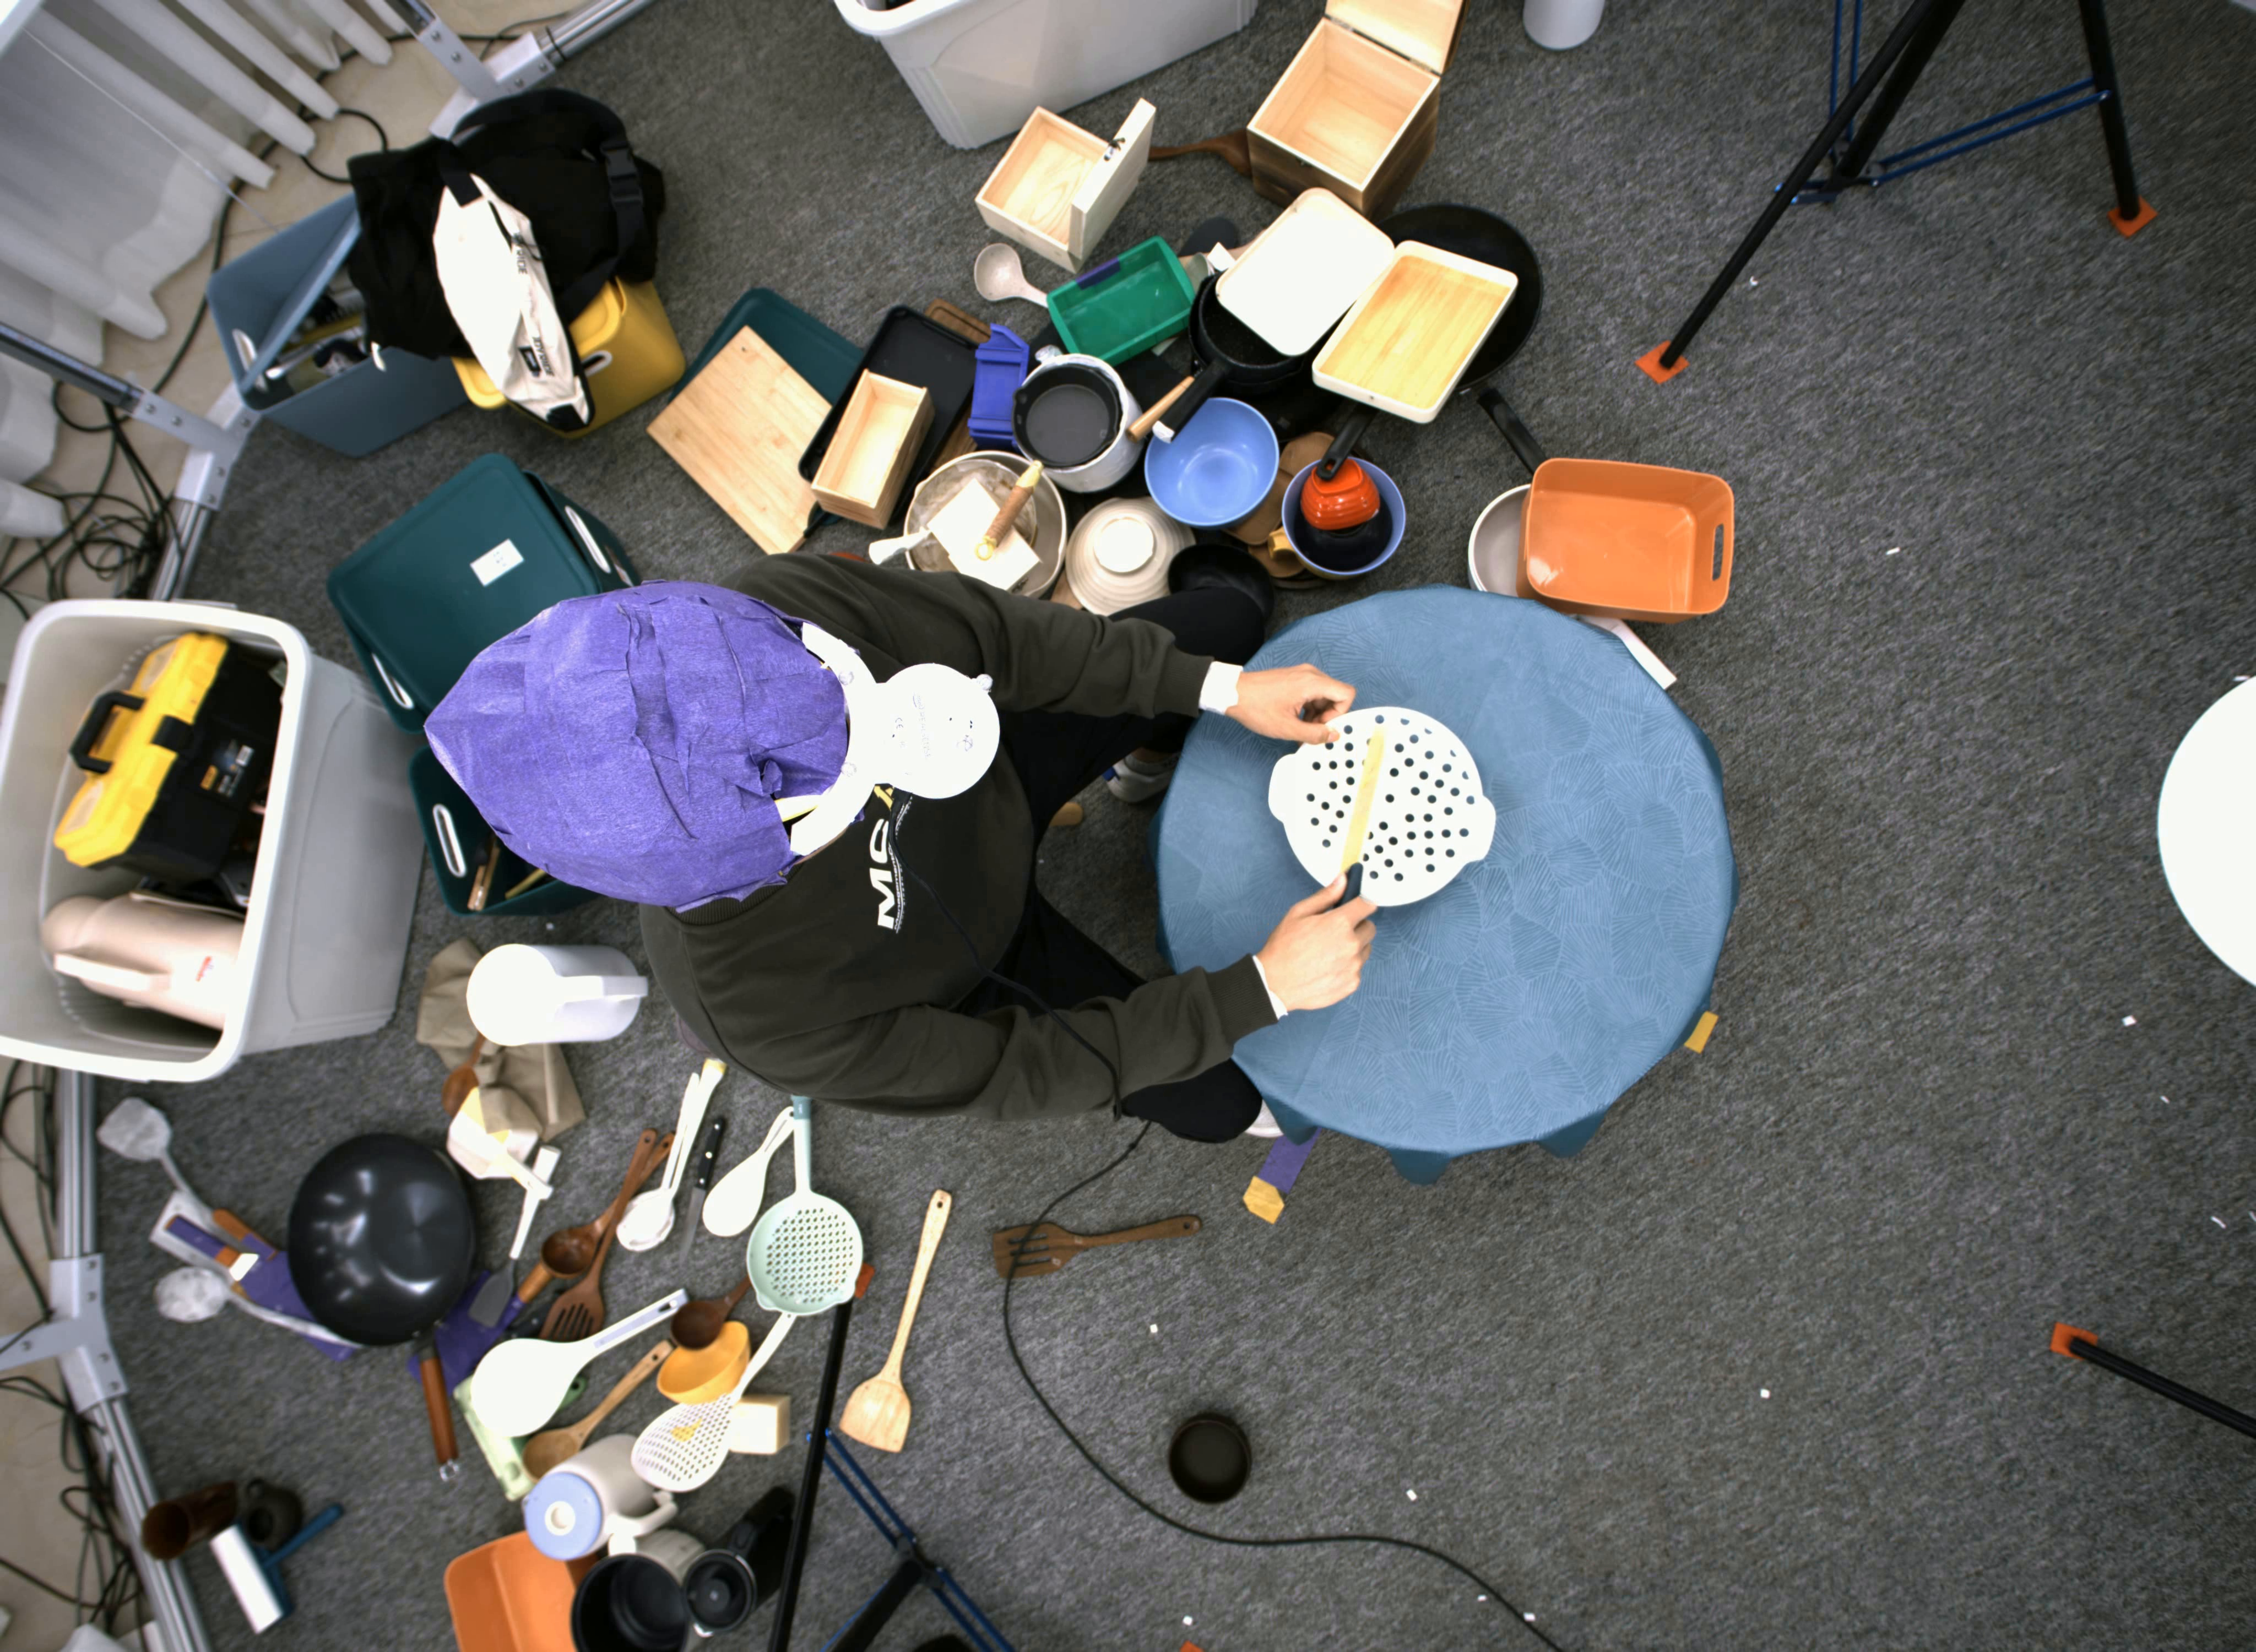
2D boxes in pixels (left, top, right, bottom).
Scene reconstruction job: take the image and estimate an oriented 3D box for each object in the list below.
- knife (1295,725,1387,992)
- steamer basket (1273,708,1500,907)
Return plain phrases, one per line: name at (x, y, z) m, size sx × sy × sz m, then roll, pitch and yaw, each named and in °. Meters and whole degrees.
knife at (0.215, 0.027, 1.372) m, size 0.027 × 0.082 × 0.286 m, roll 18°, pitch 79°, yaw 4°
steamer basket at (0.266, -0.024, 1.406) m, size 0.231 × 0.068 × 0.205 m, roll 15°, pitch 108°, yaw 19°
